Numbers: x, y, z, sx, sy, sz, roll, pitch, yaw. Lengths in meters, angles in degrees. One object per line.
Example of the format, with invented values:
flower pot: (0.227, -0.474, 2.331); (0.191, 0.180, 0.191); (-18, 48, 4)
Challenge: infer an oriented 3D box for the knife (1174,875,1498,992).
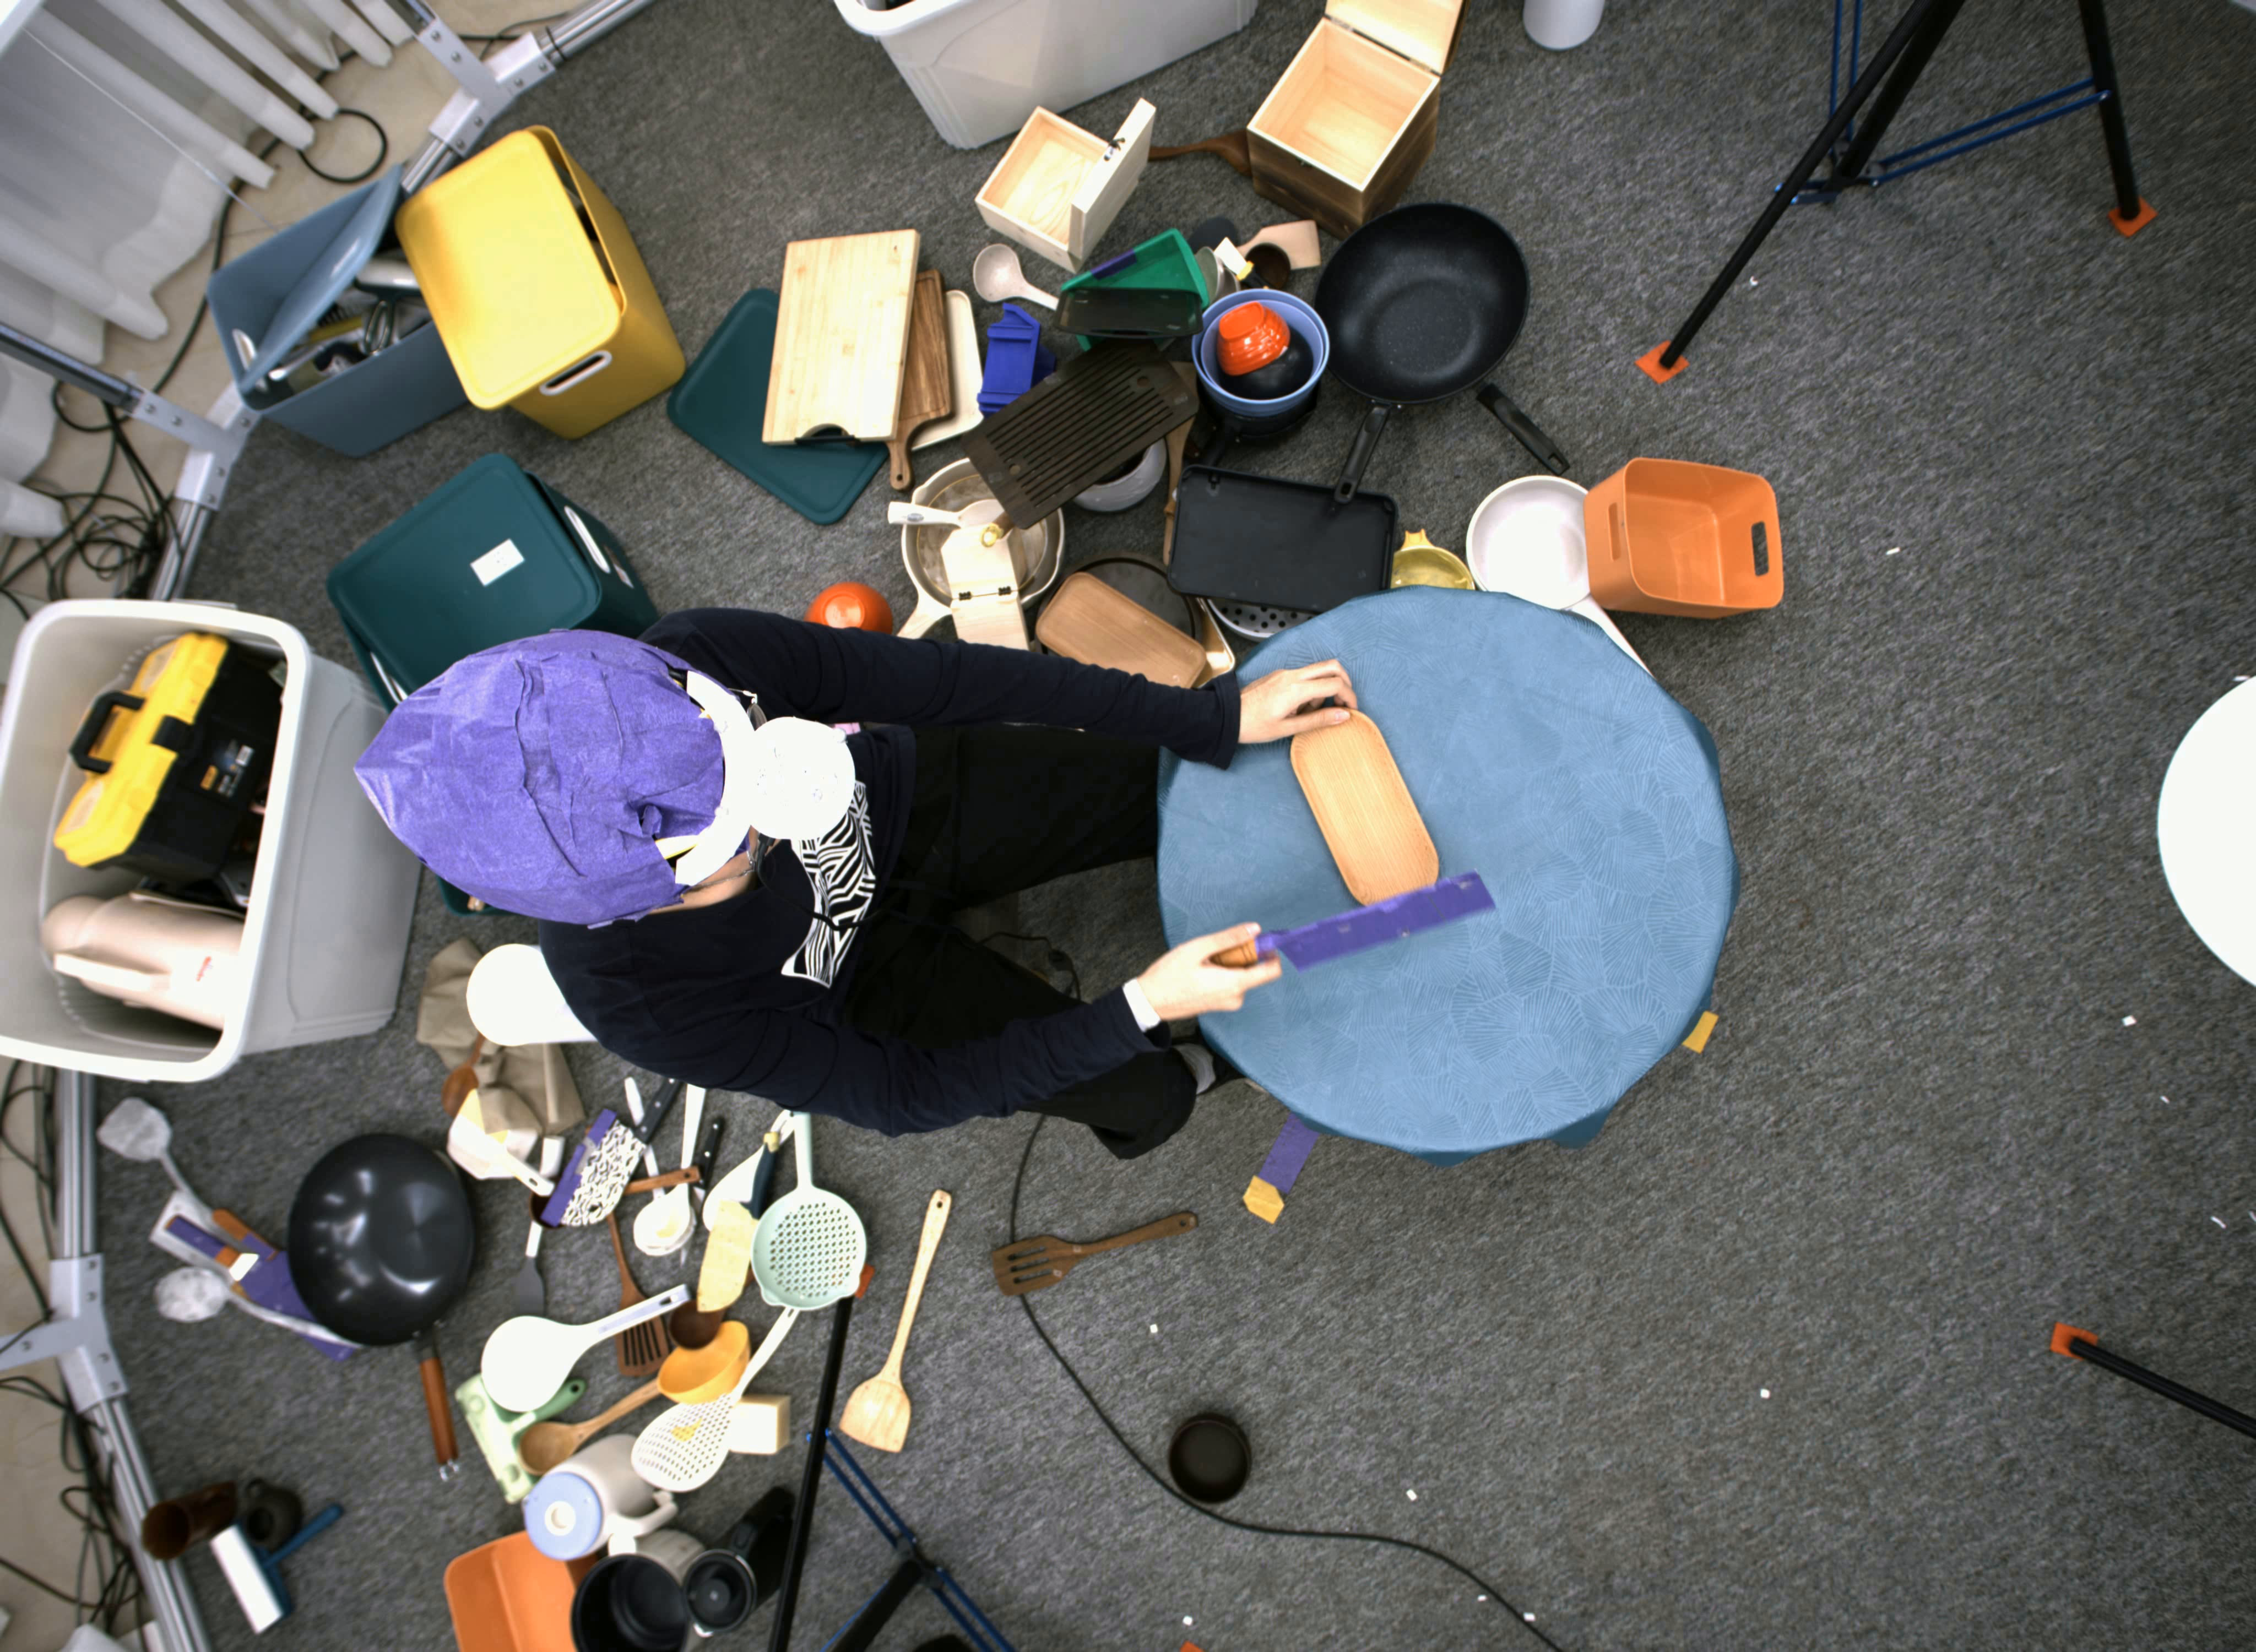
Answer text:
knife: (0.205, 0.118, 1.356); (0.318, 0.105, 0.031); (-18, 55, 18)

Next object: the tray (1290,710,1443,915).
tray: (0.252, -0.016, 1.460); (0.102, 0.020, 0.230); (-26, 85, 7)
